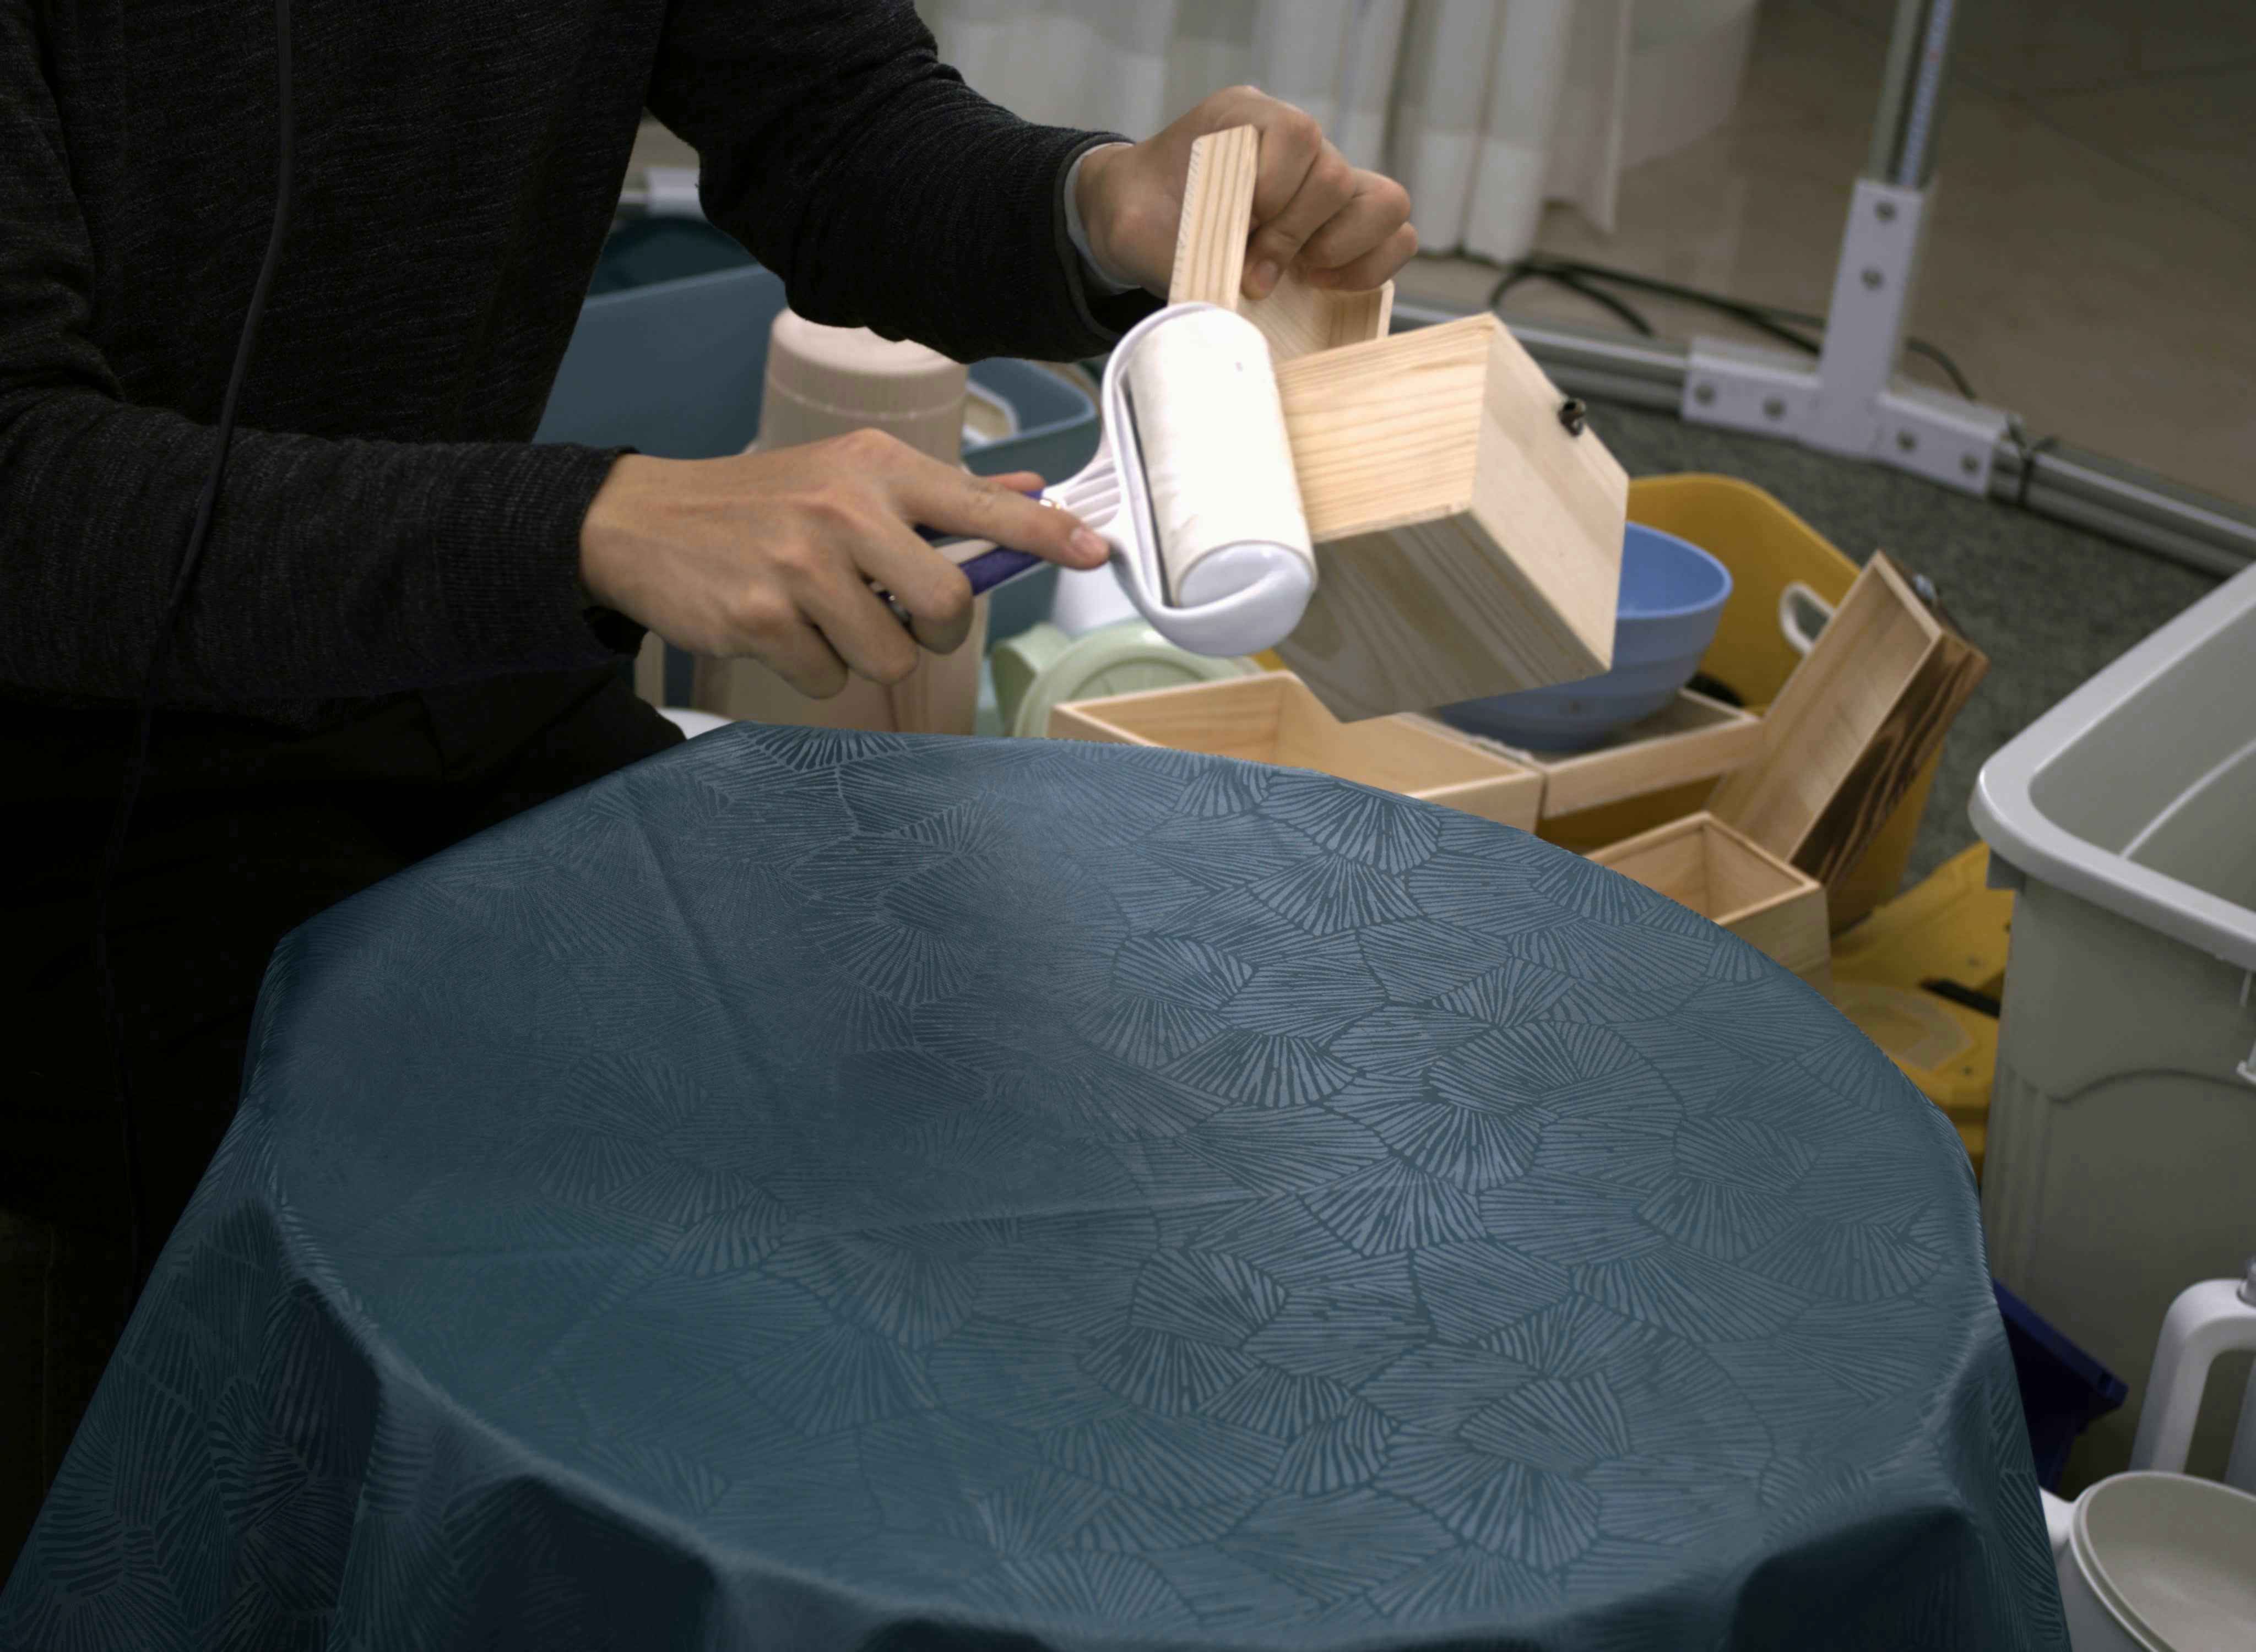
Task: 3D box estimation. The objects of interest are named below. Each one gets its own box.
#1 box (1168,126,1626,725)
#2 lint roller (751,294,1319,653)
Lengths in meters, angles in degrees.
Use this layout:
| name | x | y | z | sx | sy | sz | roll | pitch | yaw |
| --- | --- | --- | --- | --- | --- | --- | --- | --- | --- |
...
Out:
| name | x | y | z | sx | sy | sz | roll | pitch | yaw |
| --- | --- | --- | --- | --- | --- | --- | --- | --- | --- |
| box | 0.091 | -0.143 | 1.760 | 0.134 | 0.101 | 0.186 | -11 | 54 | 30 |
| lint roller | -0.035 | -0.101 | 1.685 | 0.180 | 0.050 | 0.134 | -10 | 52 | 3 |
